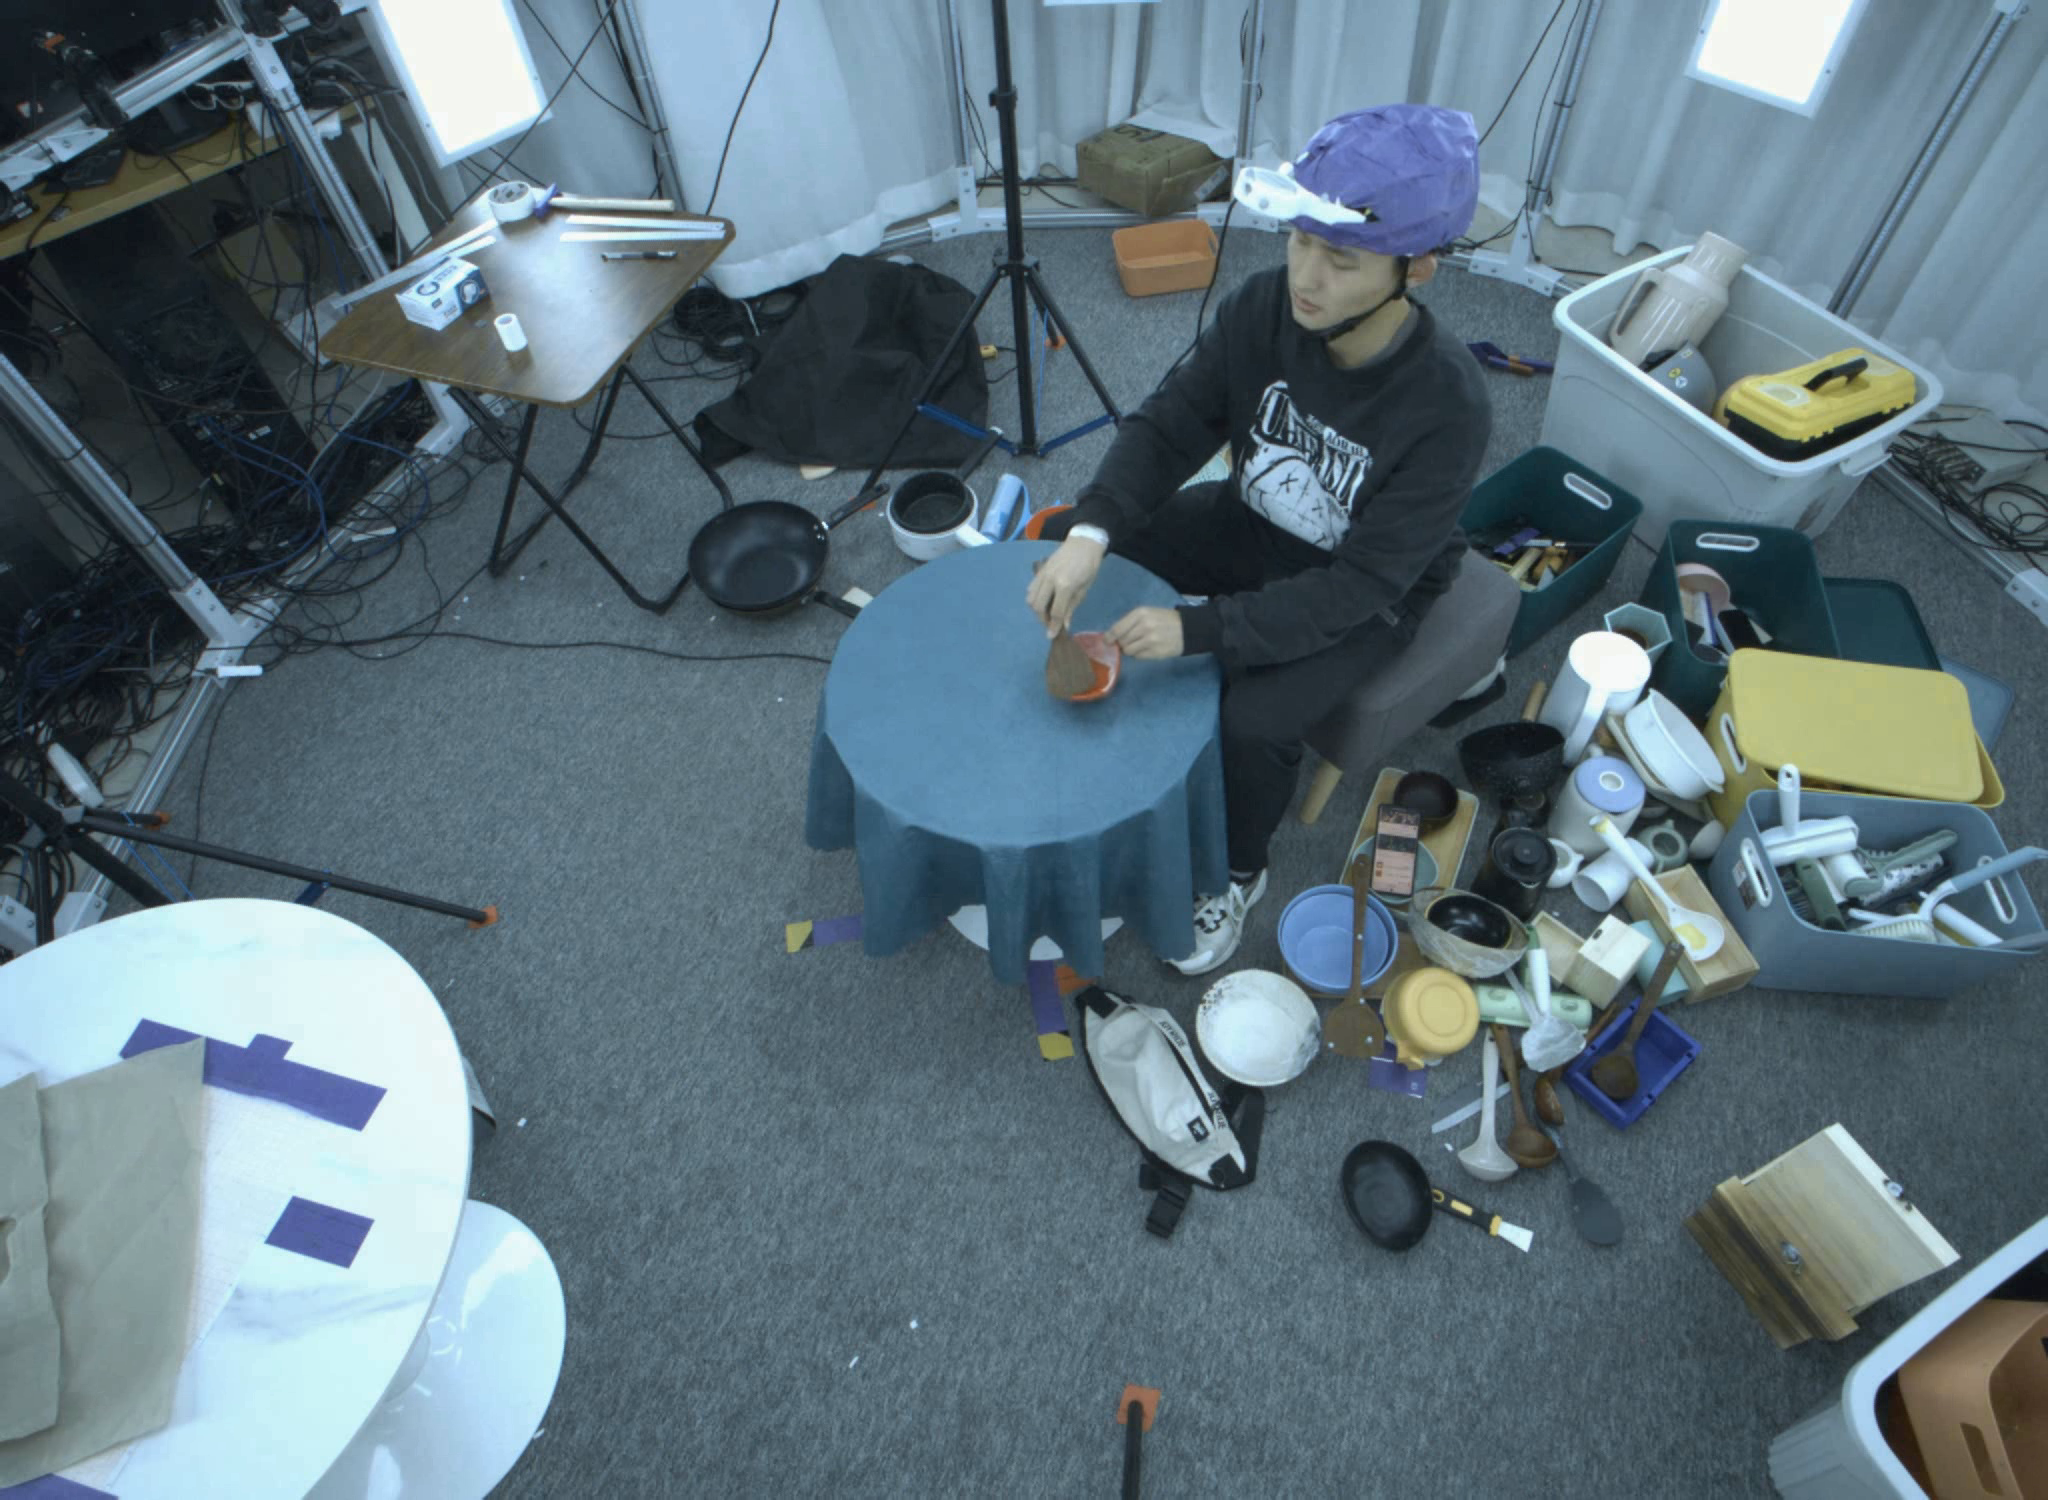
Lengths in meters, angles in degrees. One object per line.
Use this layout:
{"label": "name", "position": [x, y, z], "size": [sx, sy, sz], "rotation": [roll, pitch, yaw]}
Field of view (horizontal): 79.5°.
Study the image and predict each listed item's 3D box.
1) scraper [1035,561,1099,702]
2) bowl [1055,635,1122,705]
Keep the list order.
{"label": "scraper", "position": [0.052, -0.176, 1.804], "size": [0.075, 0.011, 0.210], "rotation": [-14, 84, 5]}
{"label": "bowl", "position": [0.100, -0.111, 1.829], "size": [0.117, 0.052, 0.118], "rotation": [-9, 63, 20]}
